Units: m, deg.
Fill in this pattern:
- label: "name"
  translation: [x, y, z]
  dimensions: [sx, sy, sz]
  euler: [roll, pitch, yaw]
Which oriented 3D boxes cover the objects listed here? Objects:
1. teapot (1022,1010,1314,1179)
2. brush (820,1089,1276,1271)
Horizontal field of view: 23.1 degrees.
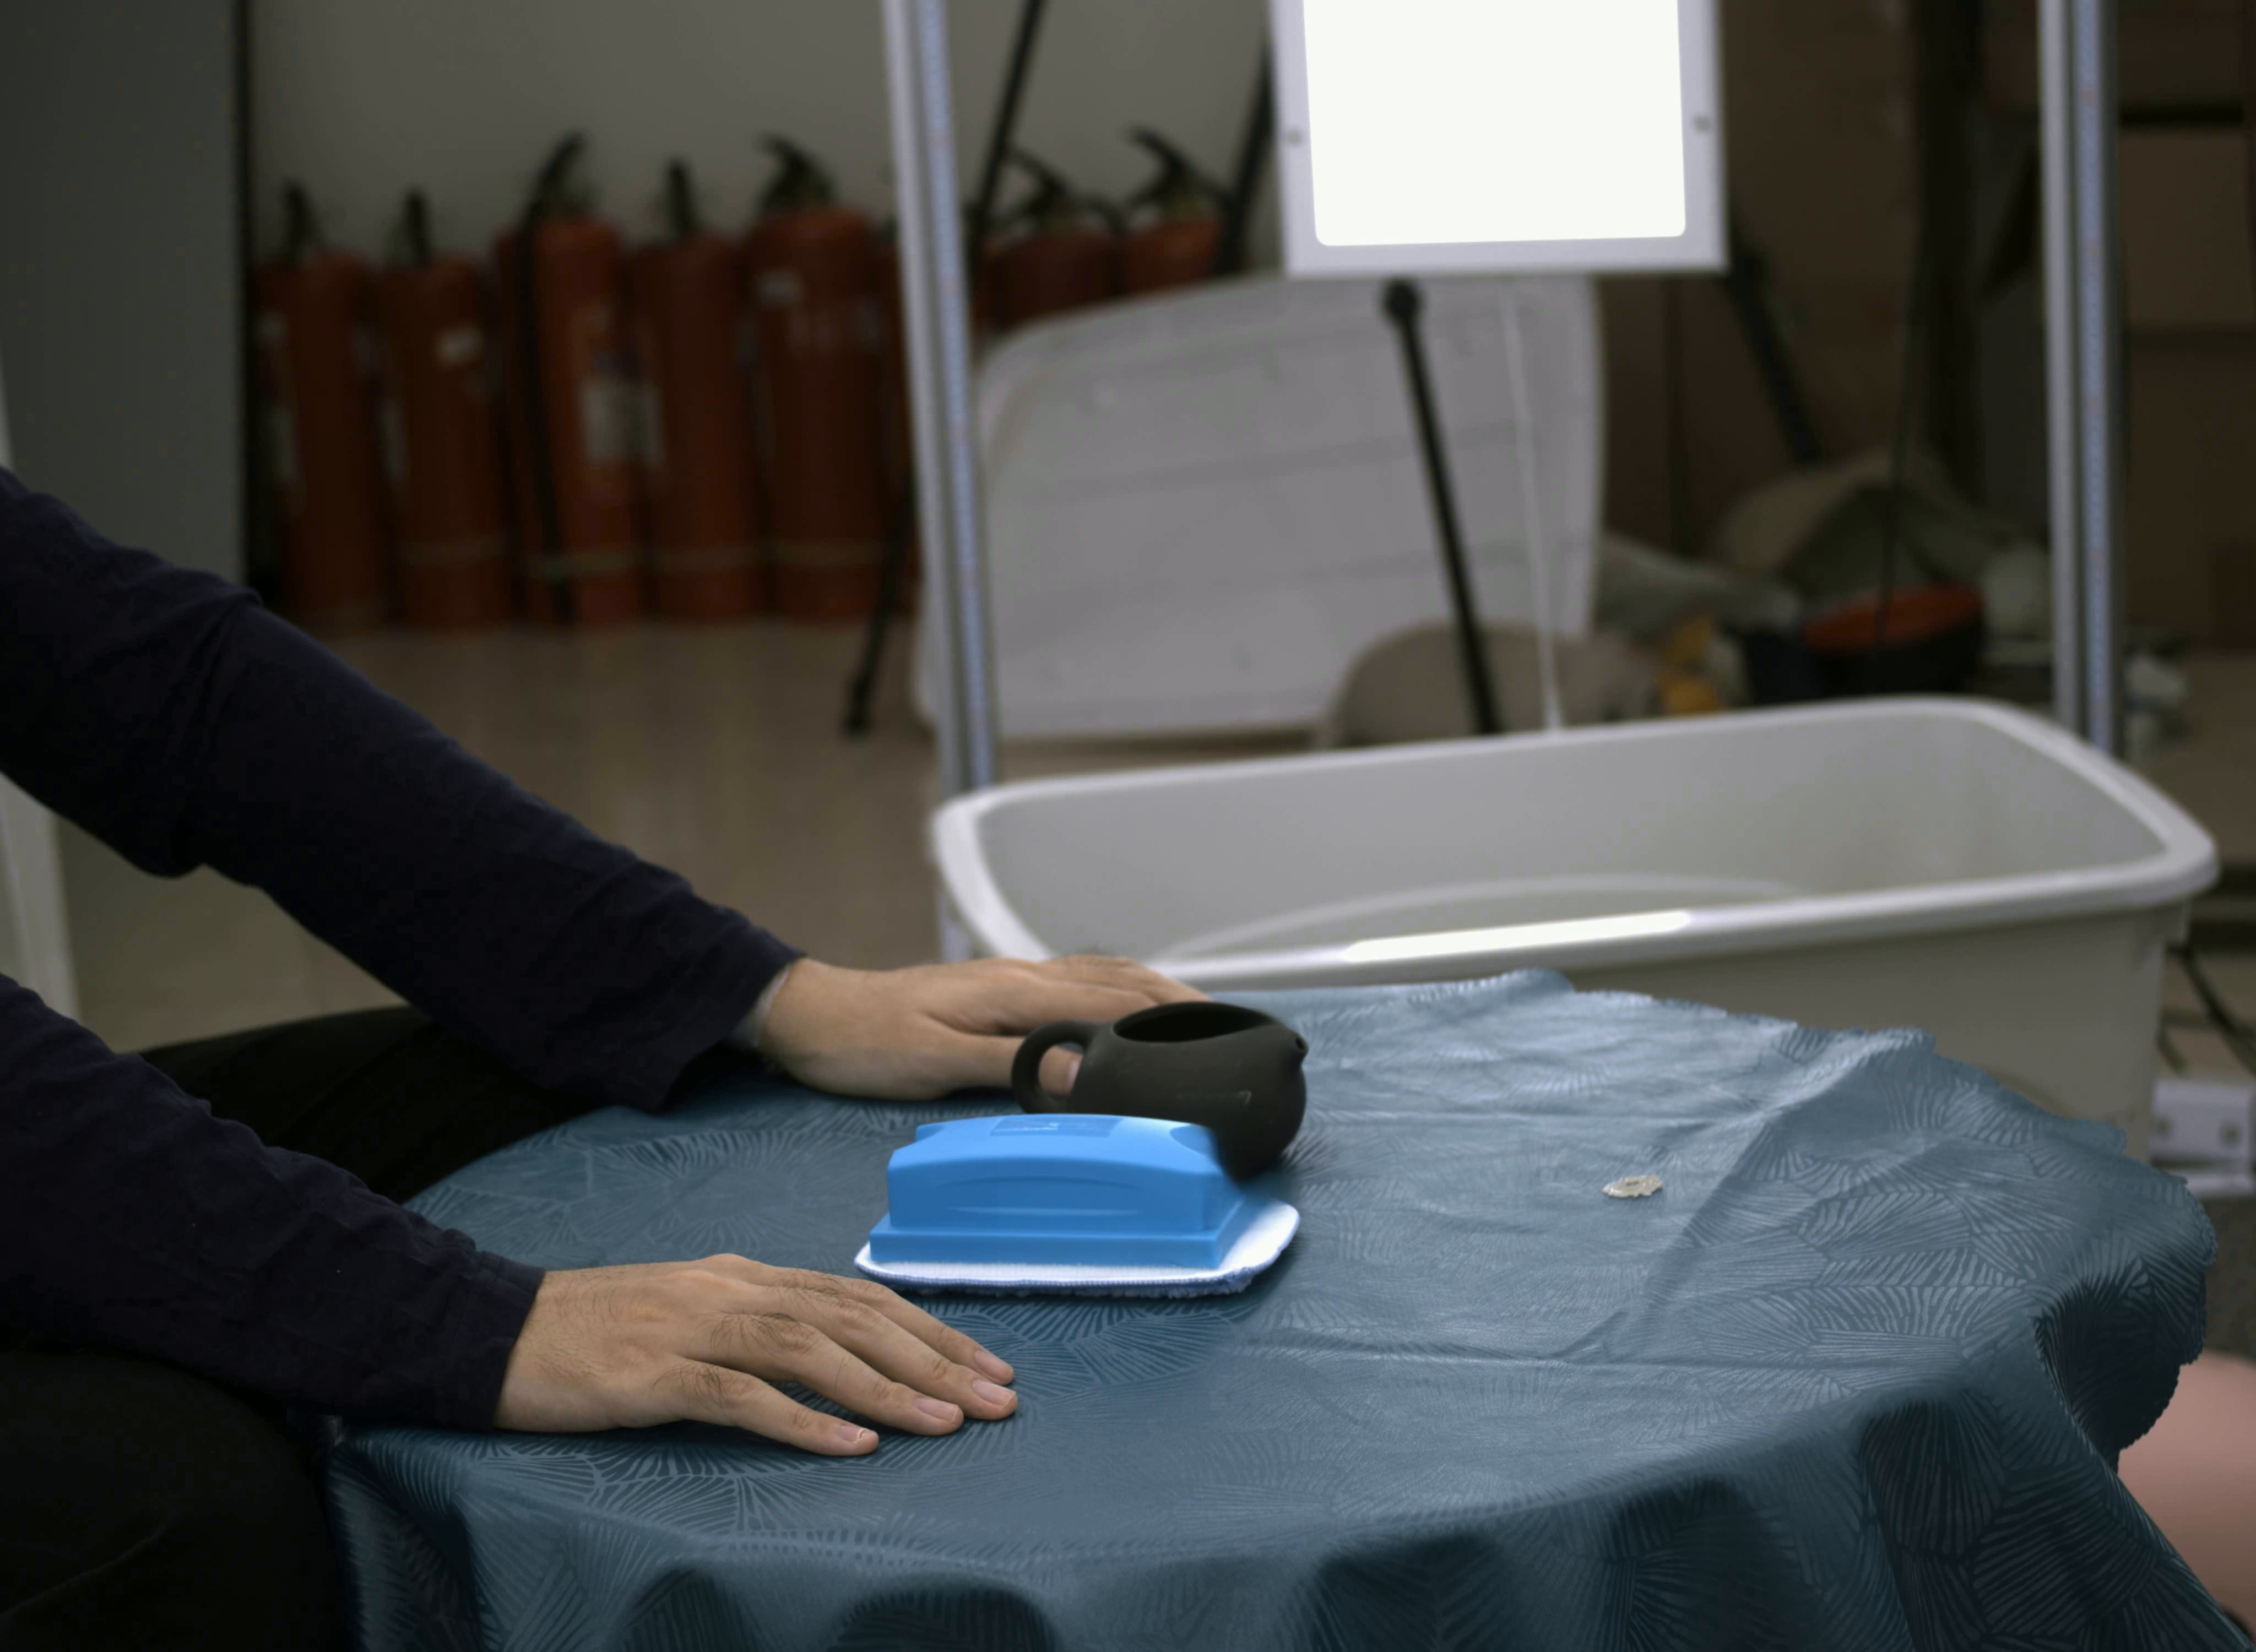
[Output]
- label: "teapot"
  translation: [0.013, 0.093, 1.930]
  dimensions: [0.116, 0.053, 0.081]
  euler: [6, 14, 30]
- label: "brush"
  translation: [-0.026, 0.117, 1.820]
  dimensions: [0.146, 0.056, 0.082]
  euler: [2, 12, 20]
